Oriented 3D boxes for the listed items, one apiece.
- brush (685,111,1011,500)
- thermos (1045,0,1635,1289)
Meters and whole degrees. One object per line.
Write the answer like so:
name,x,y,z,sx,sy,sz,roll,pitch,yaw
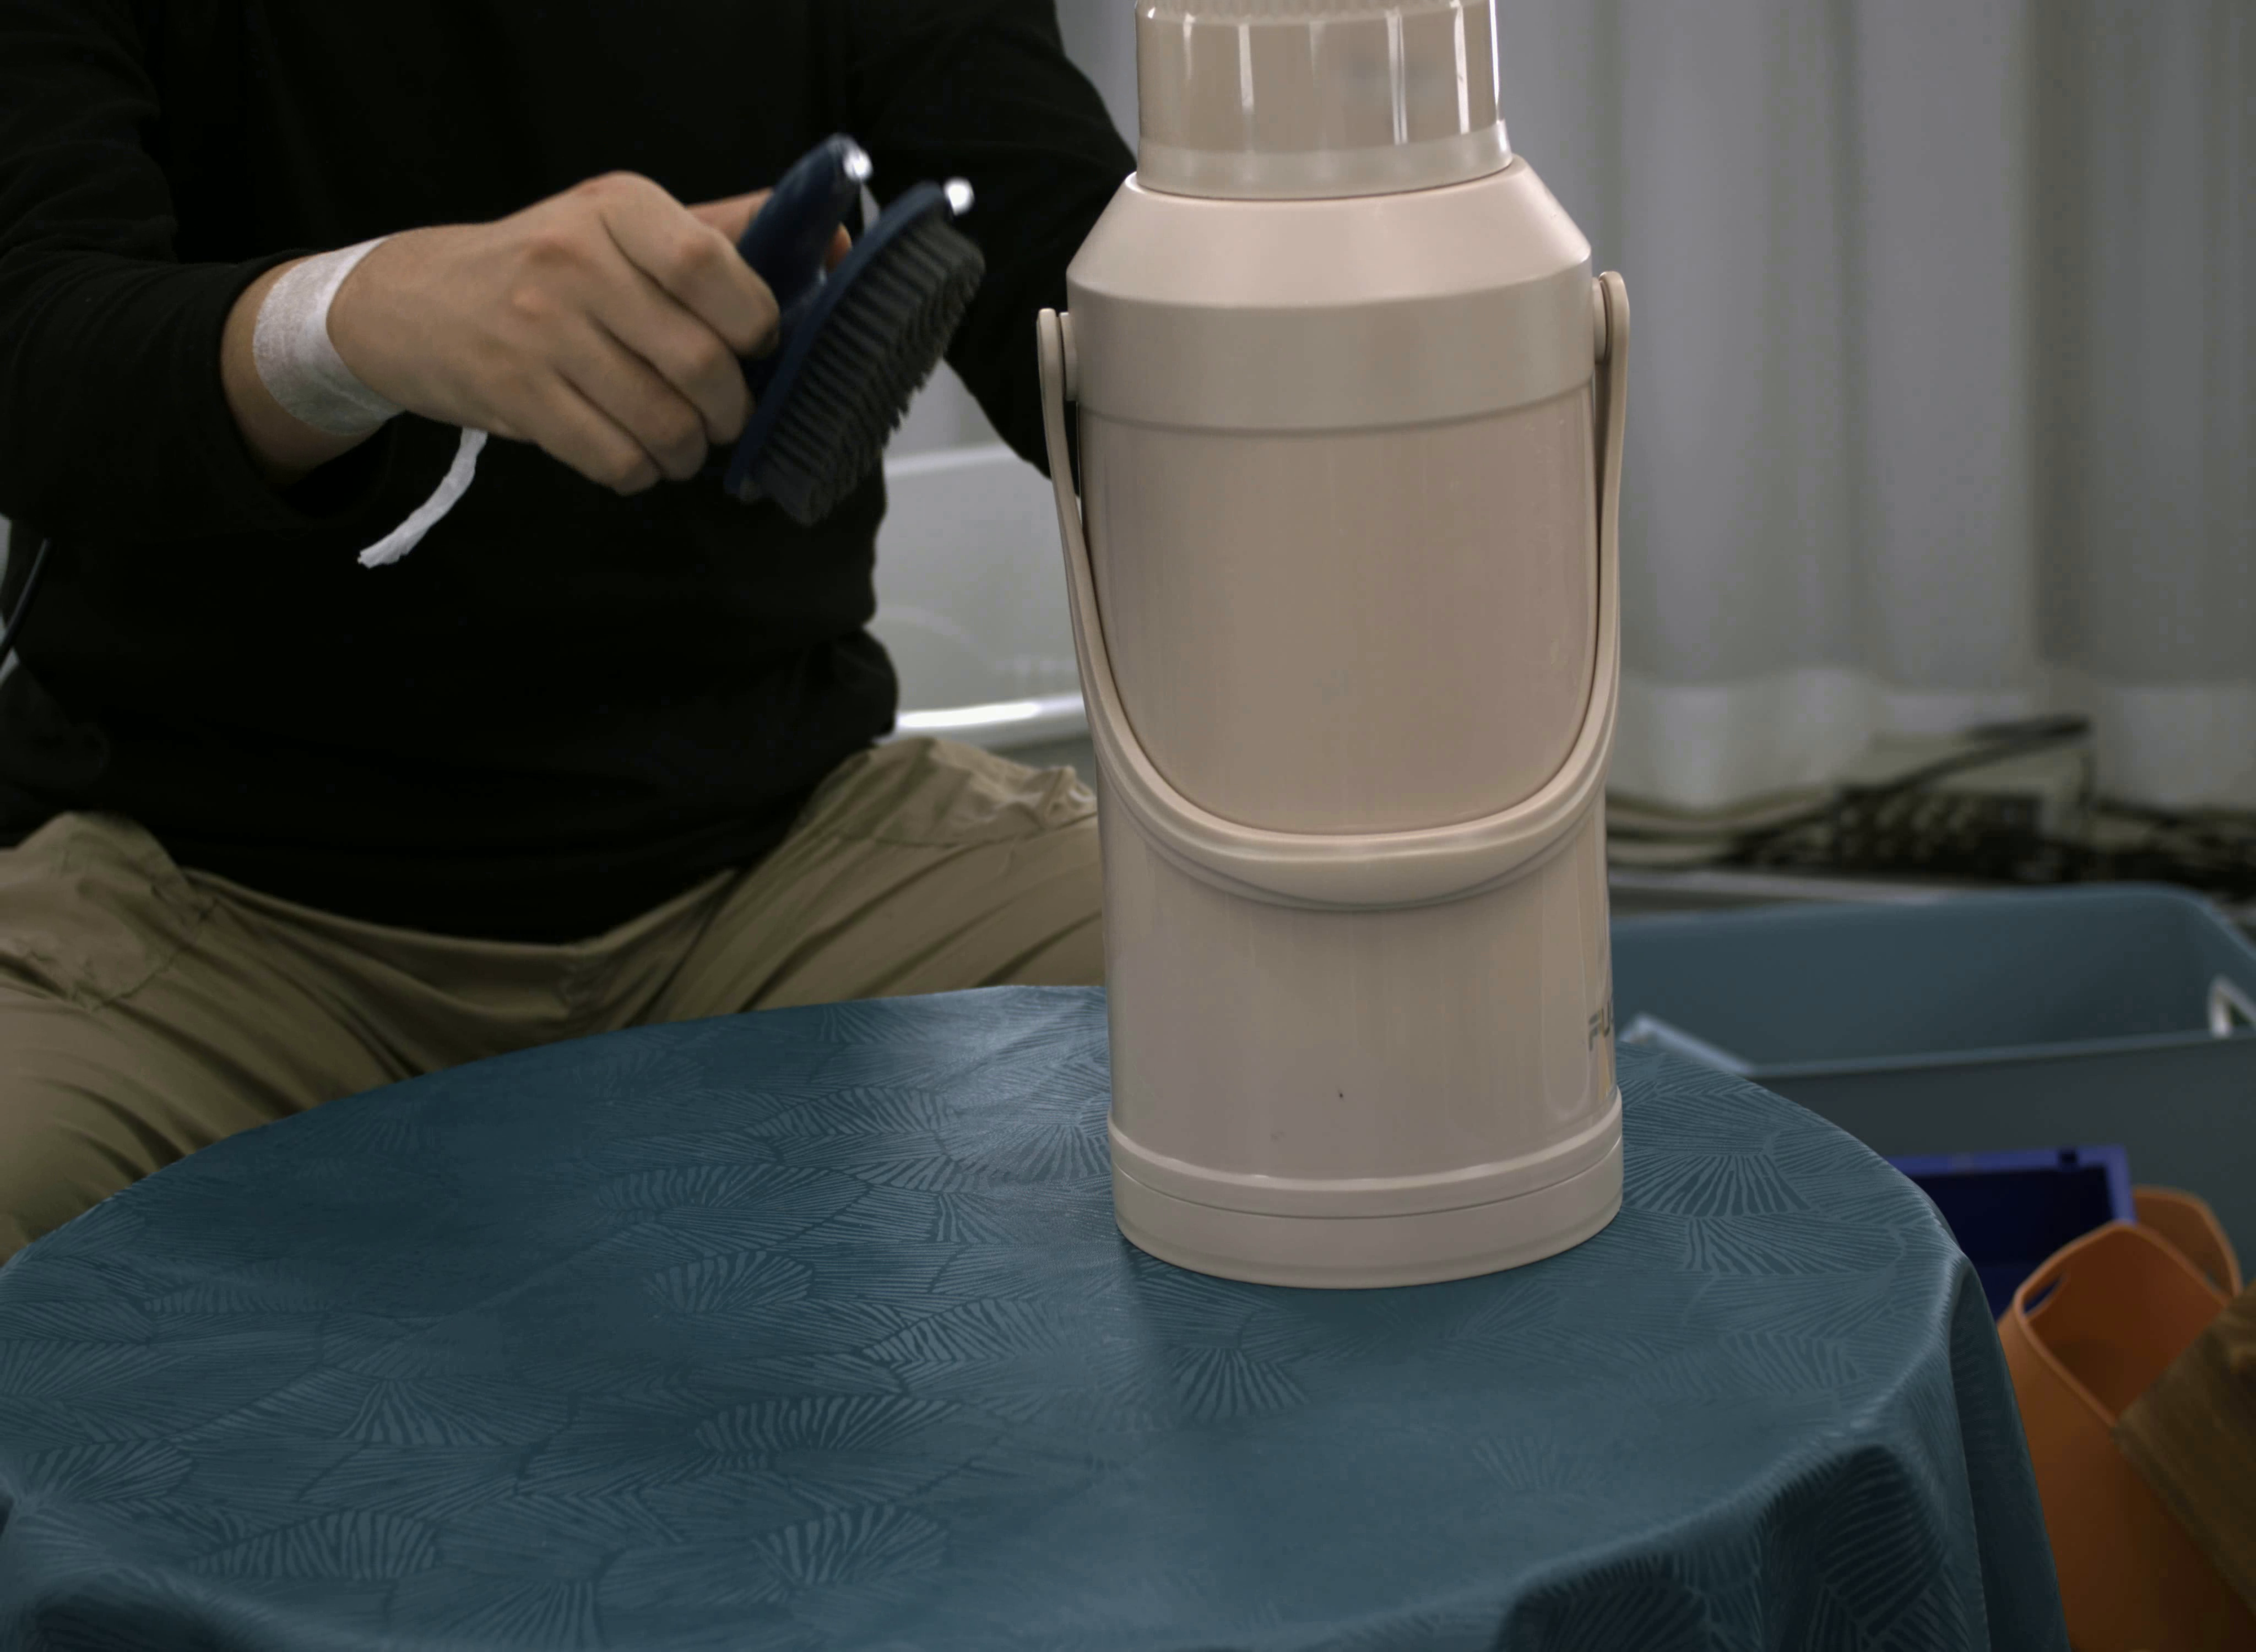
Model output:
brush,-0.079,-0.148,1.586,0.061,0.120,0.068,39,44,7
thermos,0.067,-0.078,1.661,0.174,0.405,0.208,-5,14,-4
